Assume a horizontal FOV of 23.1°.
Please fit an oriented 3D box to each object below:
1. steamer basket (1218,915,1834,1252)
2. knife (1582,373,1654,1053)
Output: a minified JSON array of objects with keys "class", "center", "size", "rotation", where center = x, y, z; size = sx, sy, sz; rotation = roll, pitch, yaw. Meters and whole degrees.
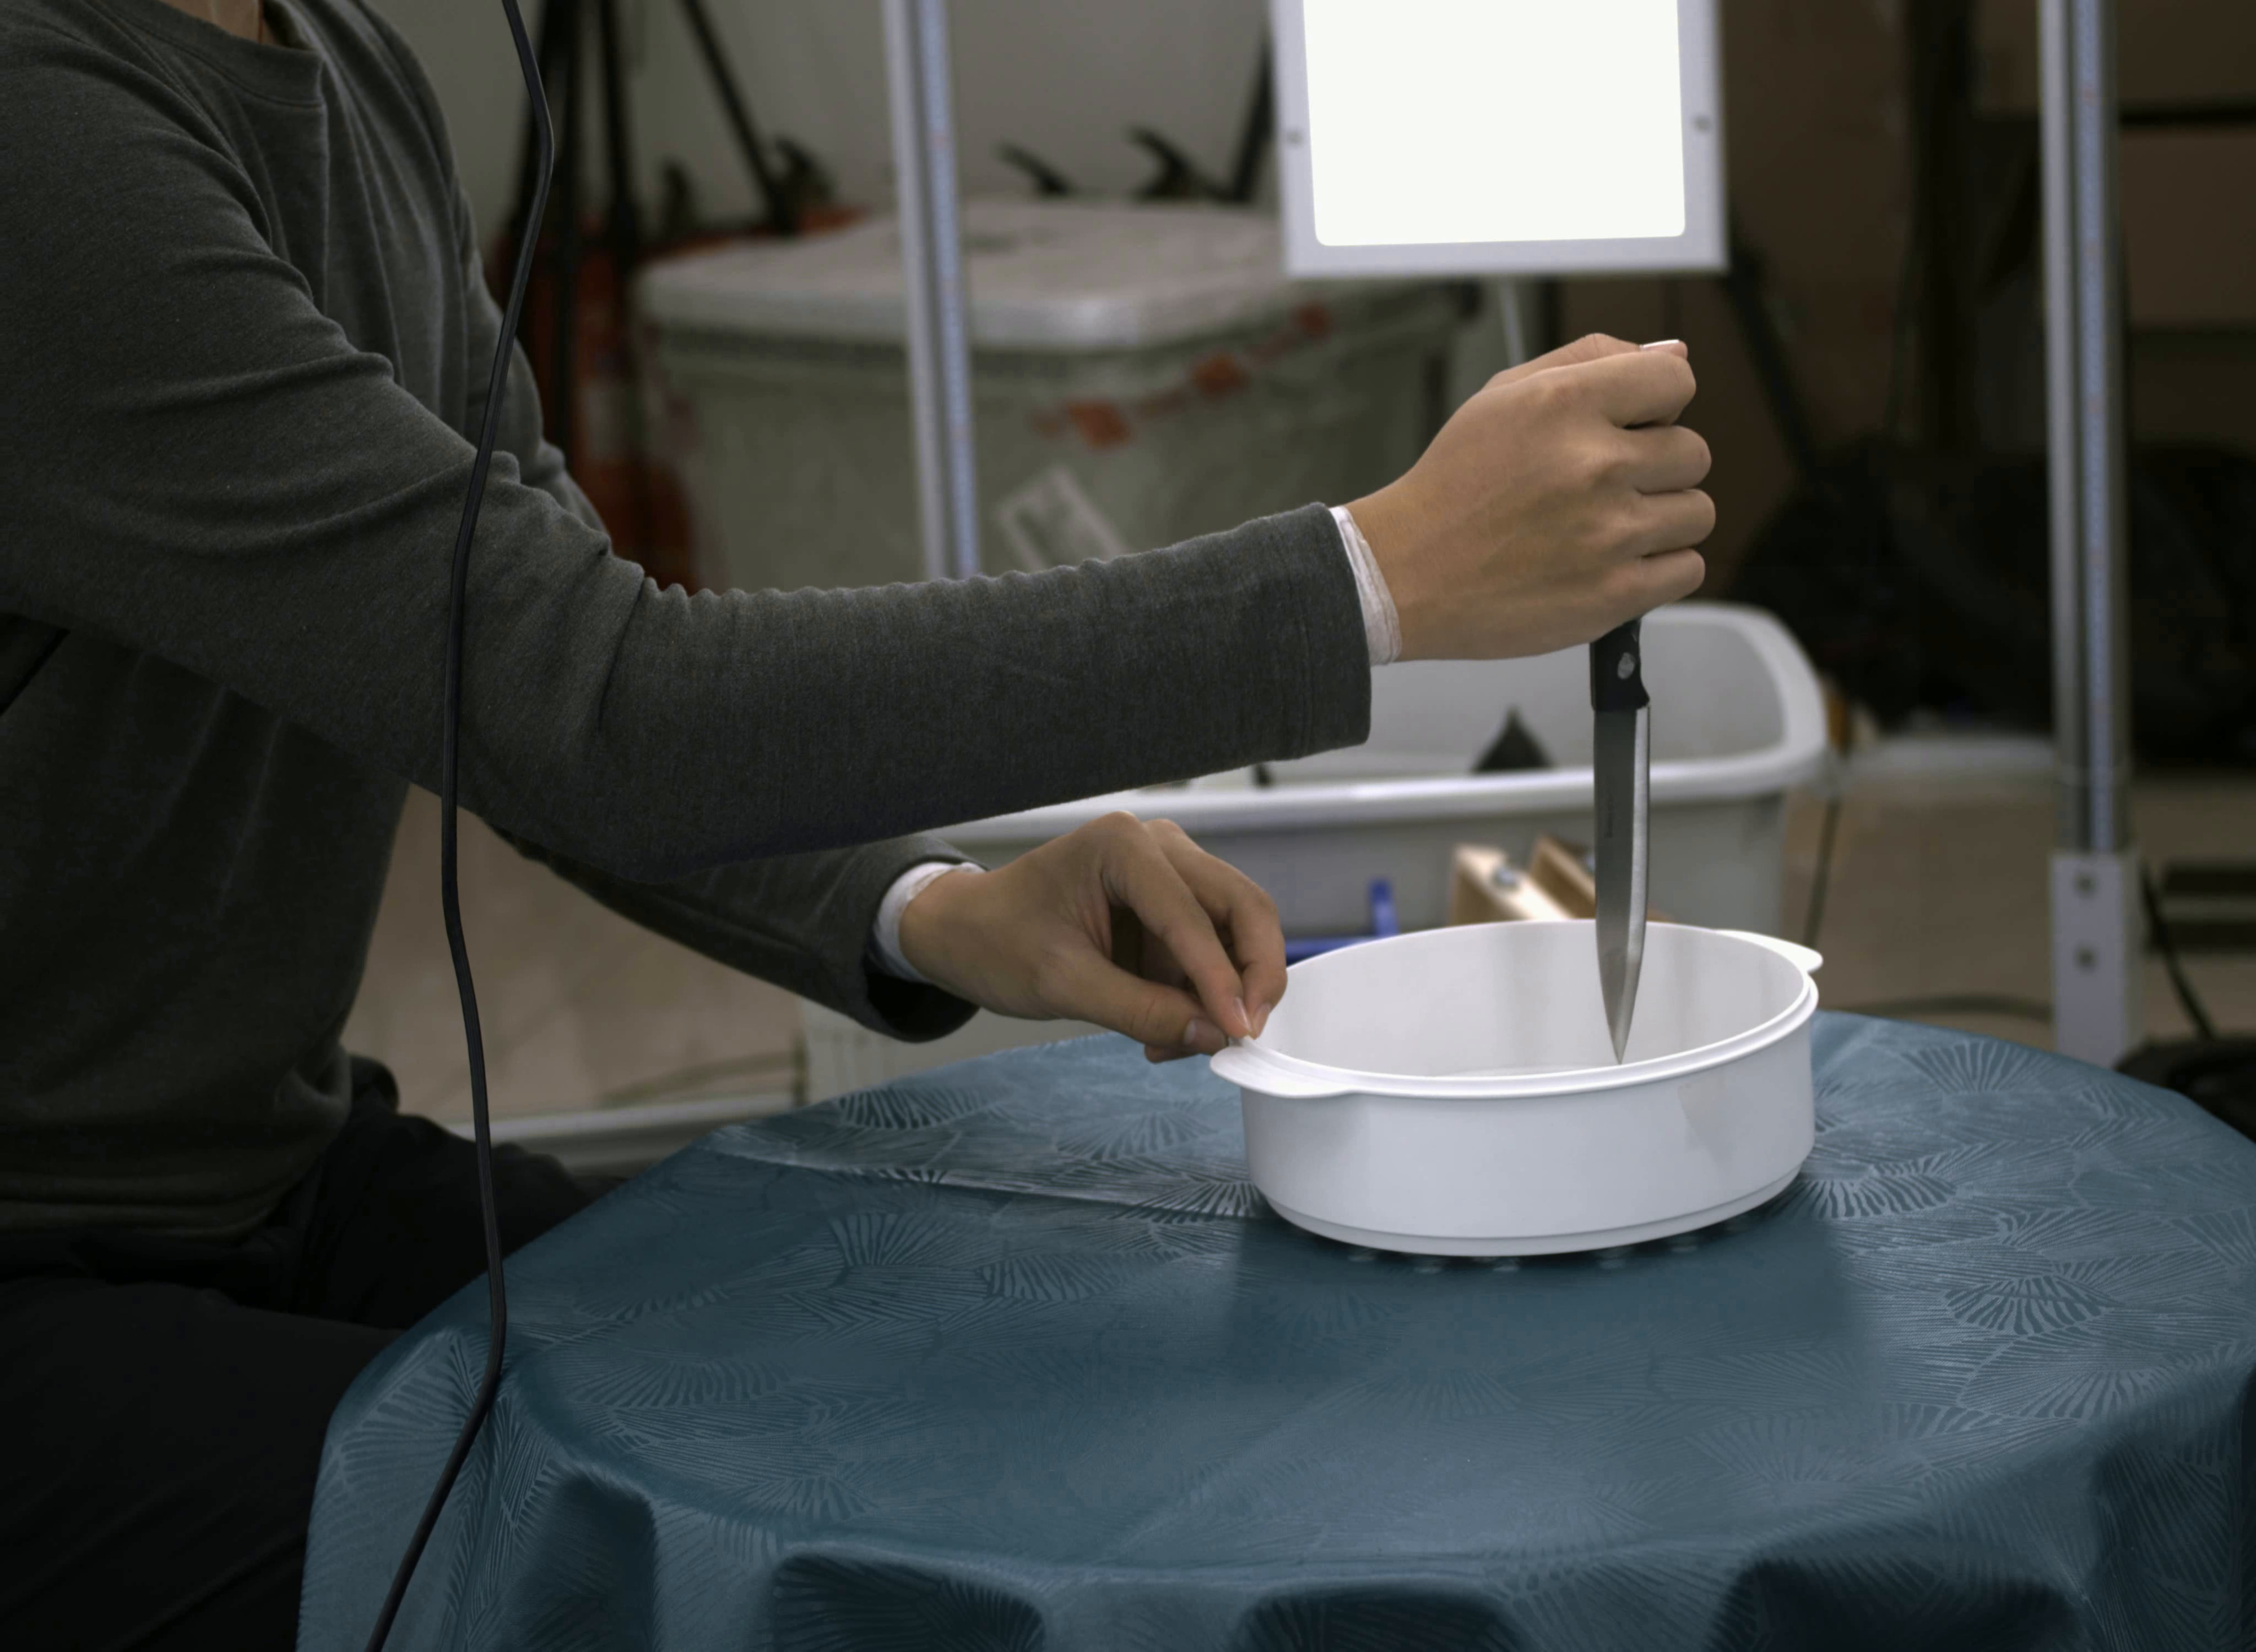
[{"class":"steamer basket","center":[0.140,0.087,1.867],"size":[0.225,0.069,0.205],"rotation":[-13,15,-27]},{"class":"knife","center":[0.165,-0.034,1.848],"size":[0.024,0.239,0.016],"rotation":[-7,15,-18]}]
